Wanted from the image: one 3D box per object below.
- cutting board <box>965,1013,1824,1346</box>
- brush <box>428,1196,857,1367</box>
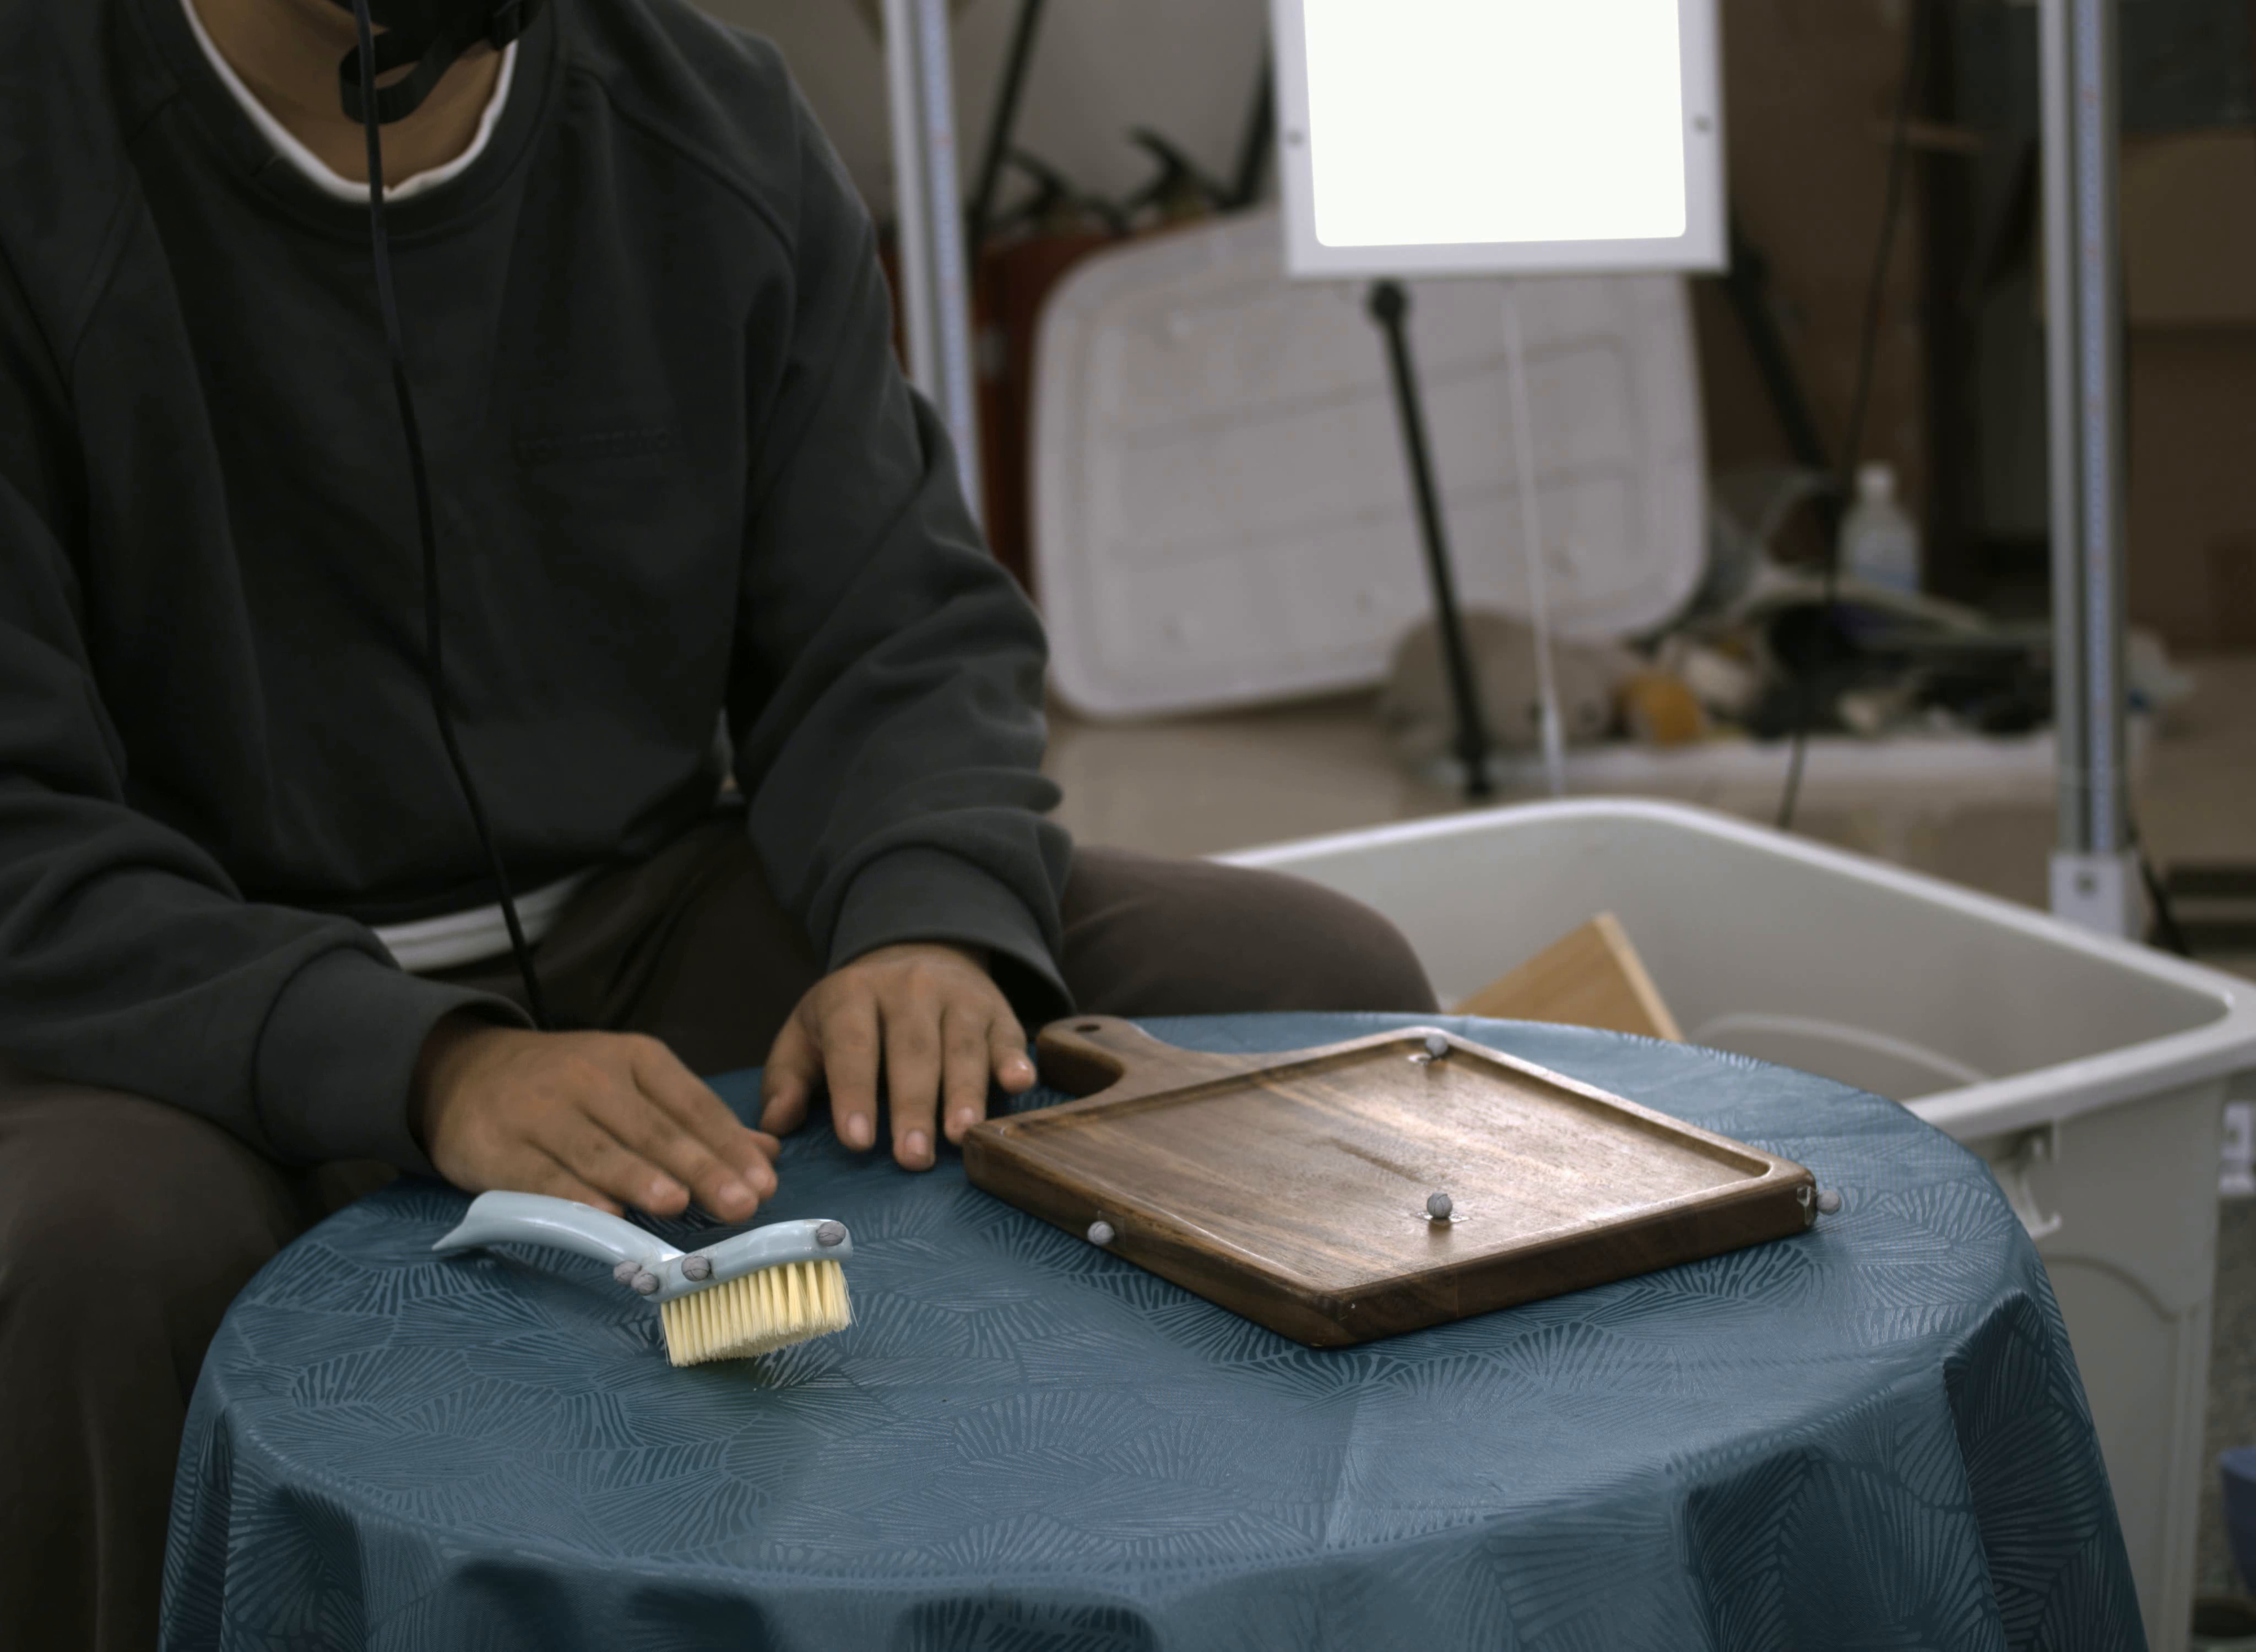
[{"bbox_3d":[0.063,0.109,1.904,0.197,0.023,0.358,-11,15,-26],"label":"cutting board"},{"bbox_3d":[-0.163,0.148,1.802,0.037,0.050,0.234,0,0,-38],"label":"brush"}]
